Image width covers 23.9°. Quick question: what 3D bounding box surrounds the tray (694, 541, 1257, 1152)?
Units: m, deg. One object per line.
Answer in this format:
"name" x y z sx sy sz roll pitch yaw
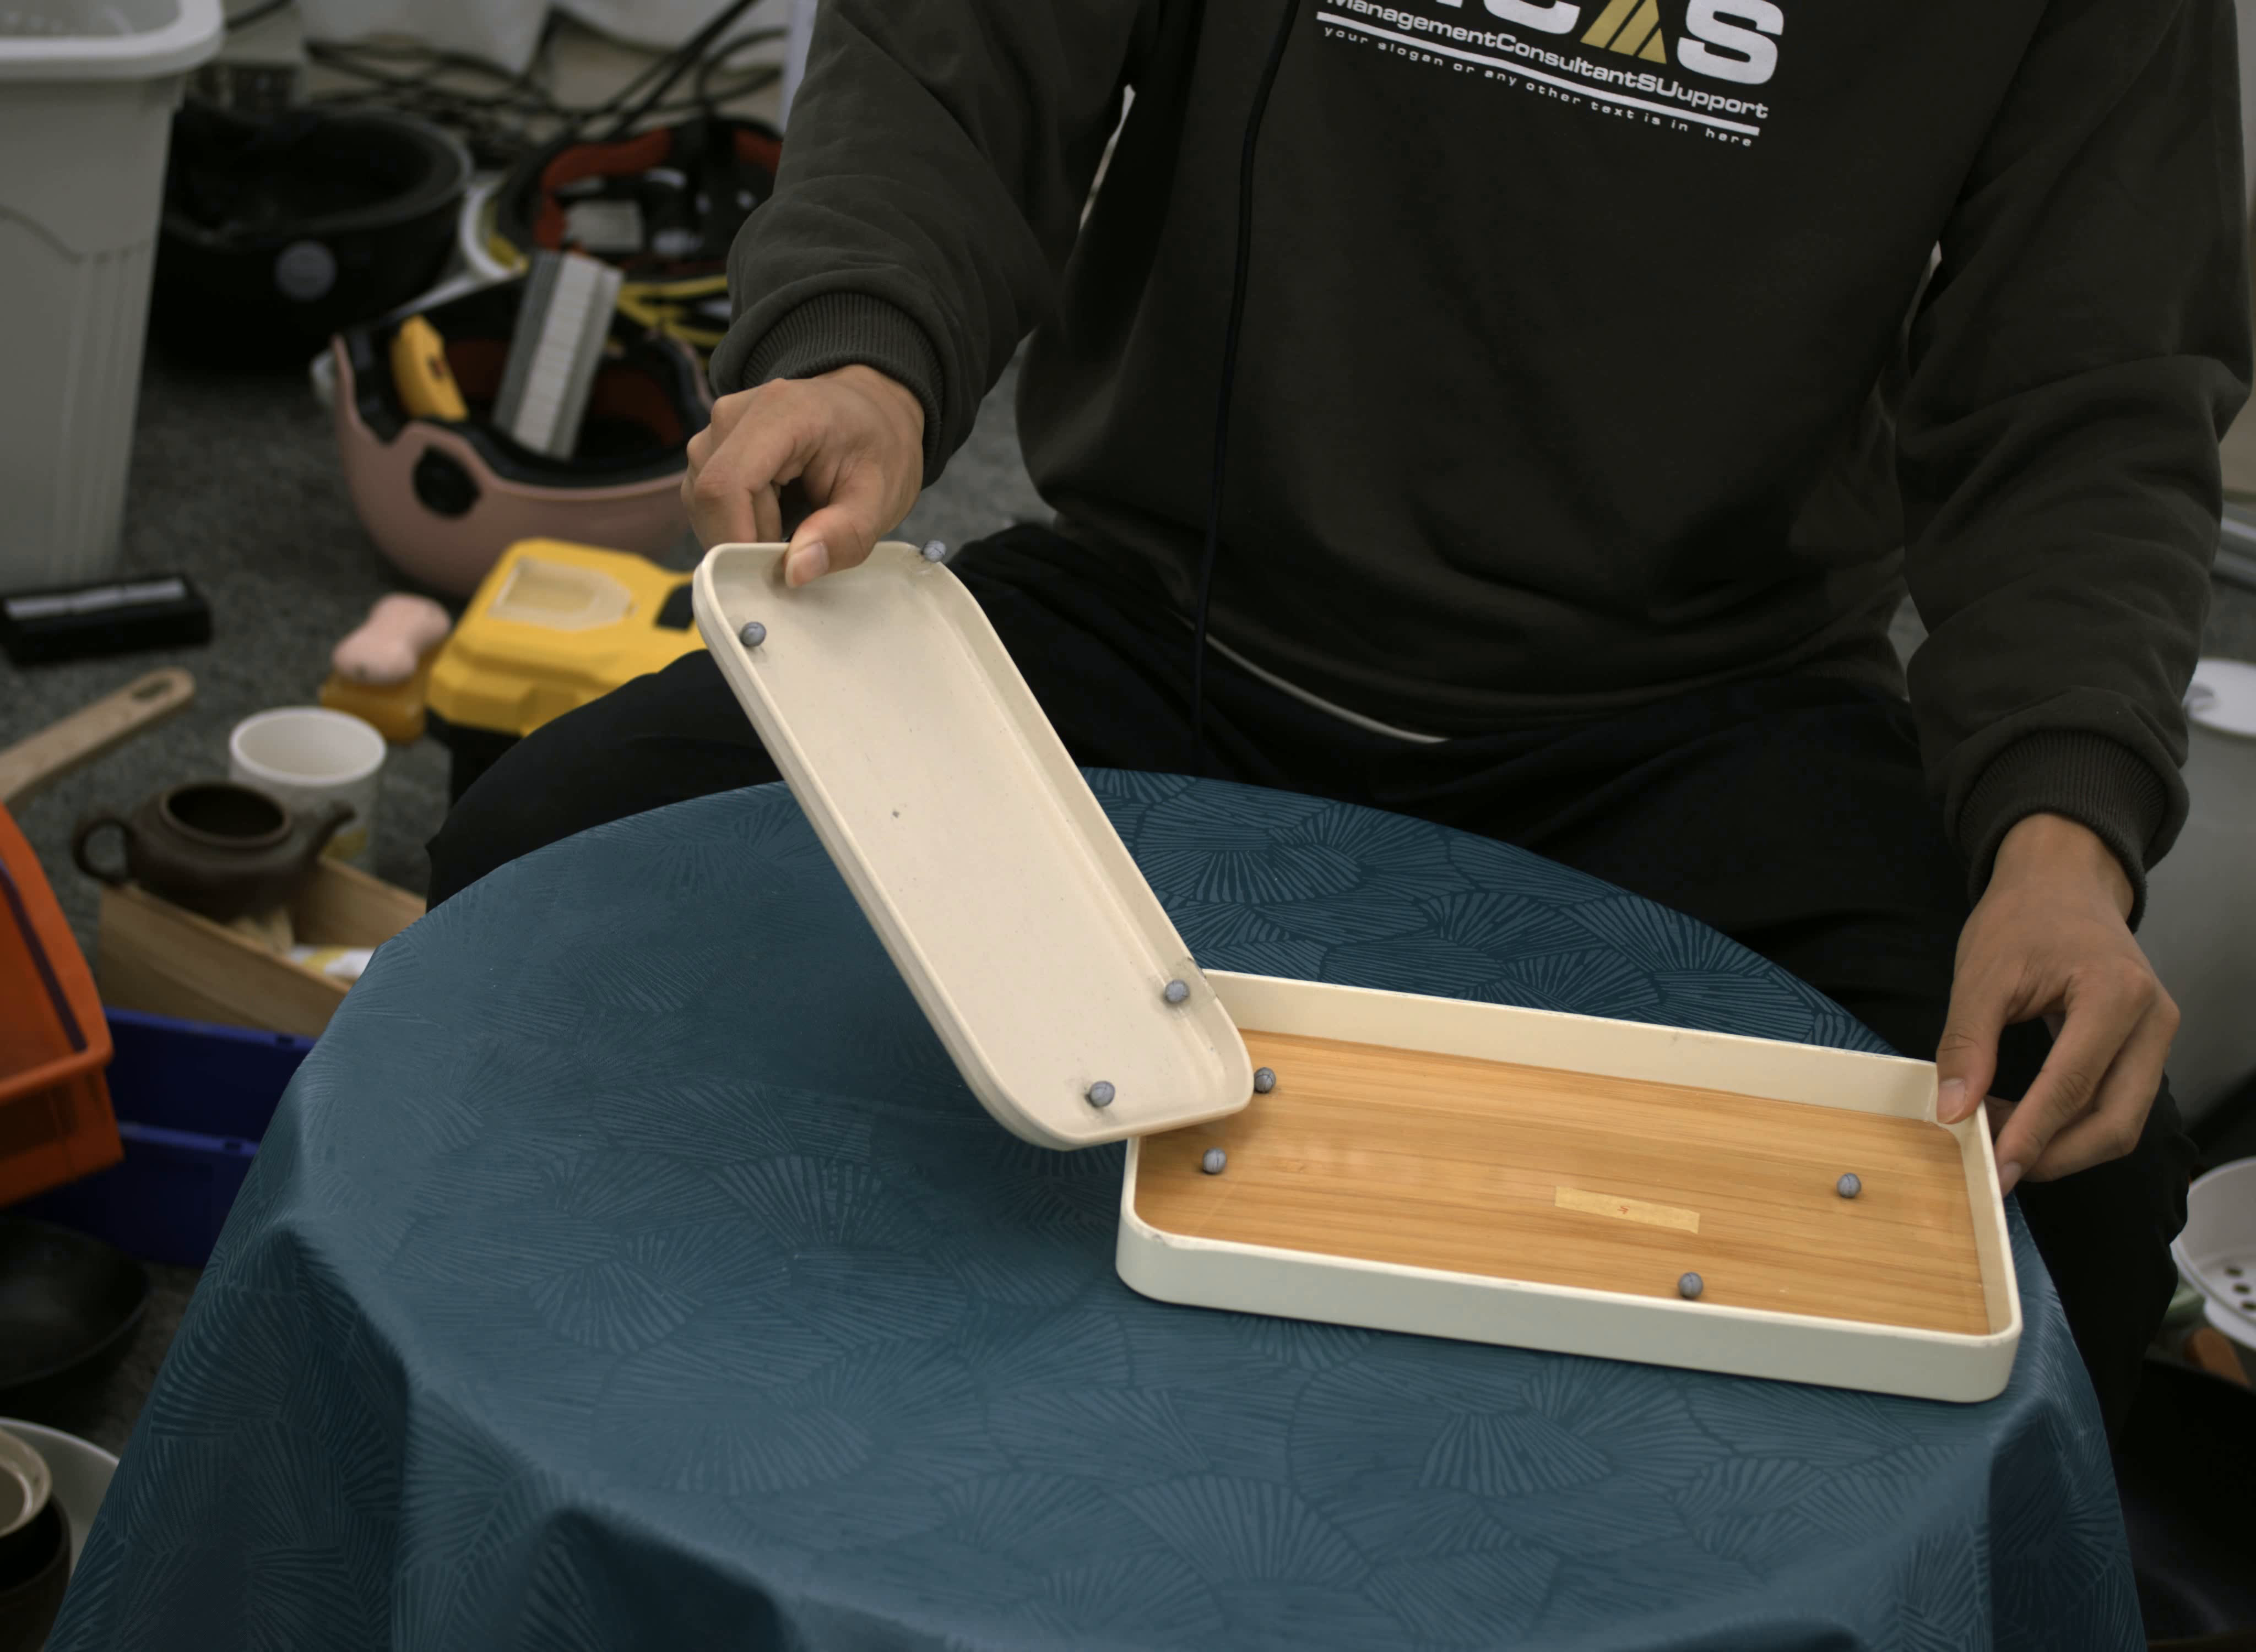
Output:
"tray" -0.053 0.005 1.810 0.241 0.017 0.170 59 27 14

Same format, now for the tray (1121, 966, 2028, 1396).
"tray" 0.150 0.119 1.821 0.299 0.027 0.192 7 26 0
